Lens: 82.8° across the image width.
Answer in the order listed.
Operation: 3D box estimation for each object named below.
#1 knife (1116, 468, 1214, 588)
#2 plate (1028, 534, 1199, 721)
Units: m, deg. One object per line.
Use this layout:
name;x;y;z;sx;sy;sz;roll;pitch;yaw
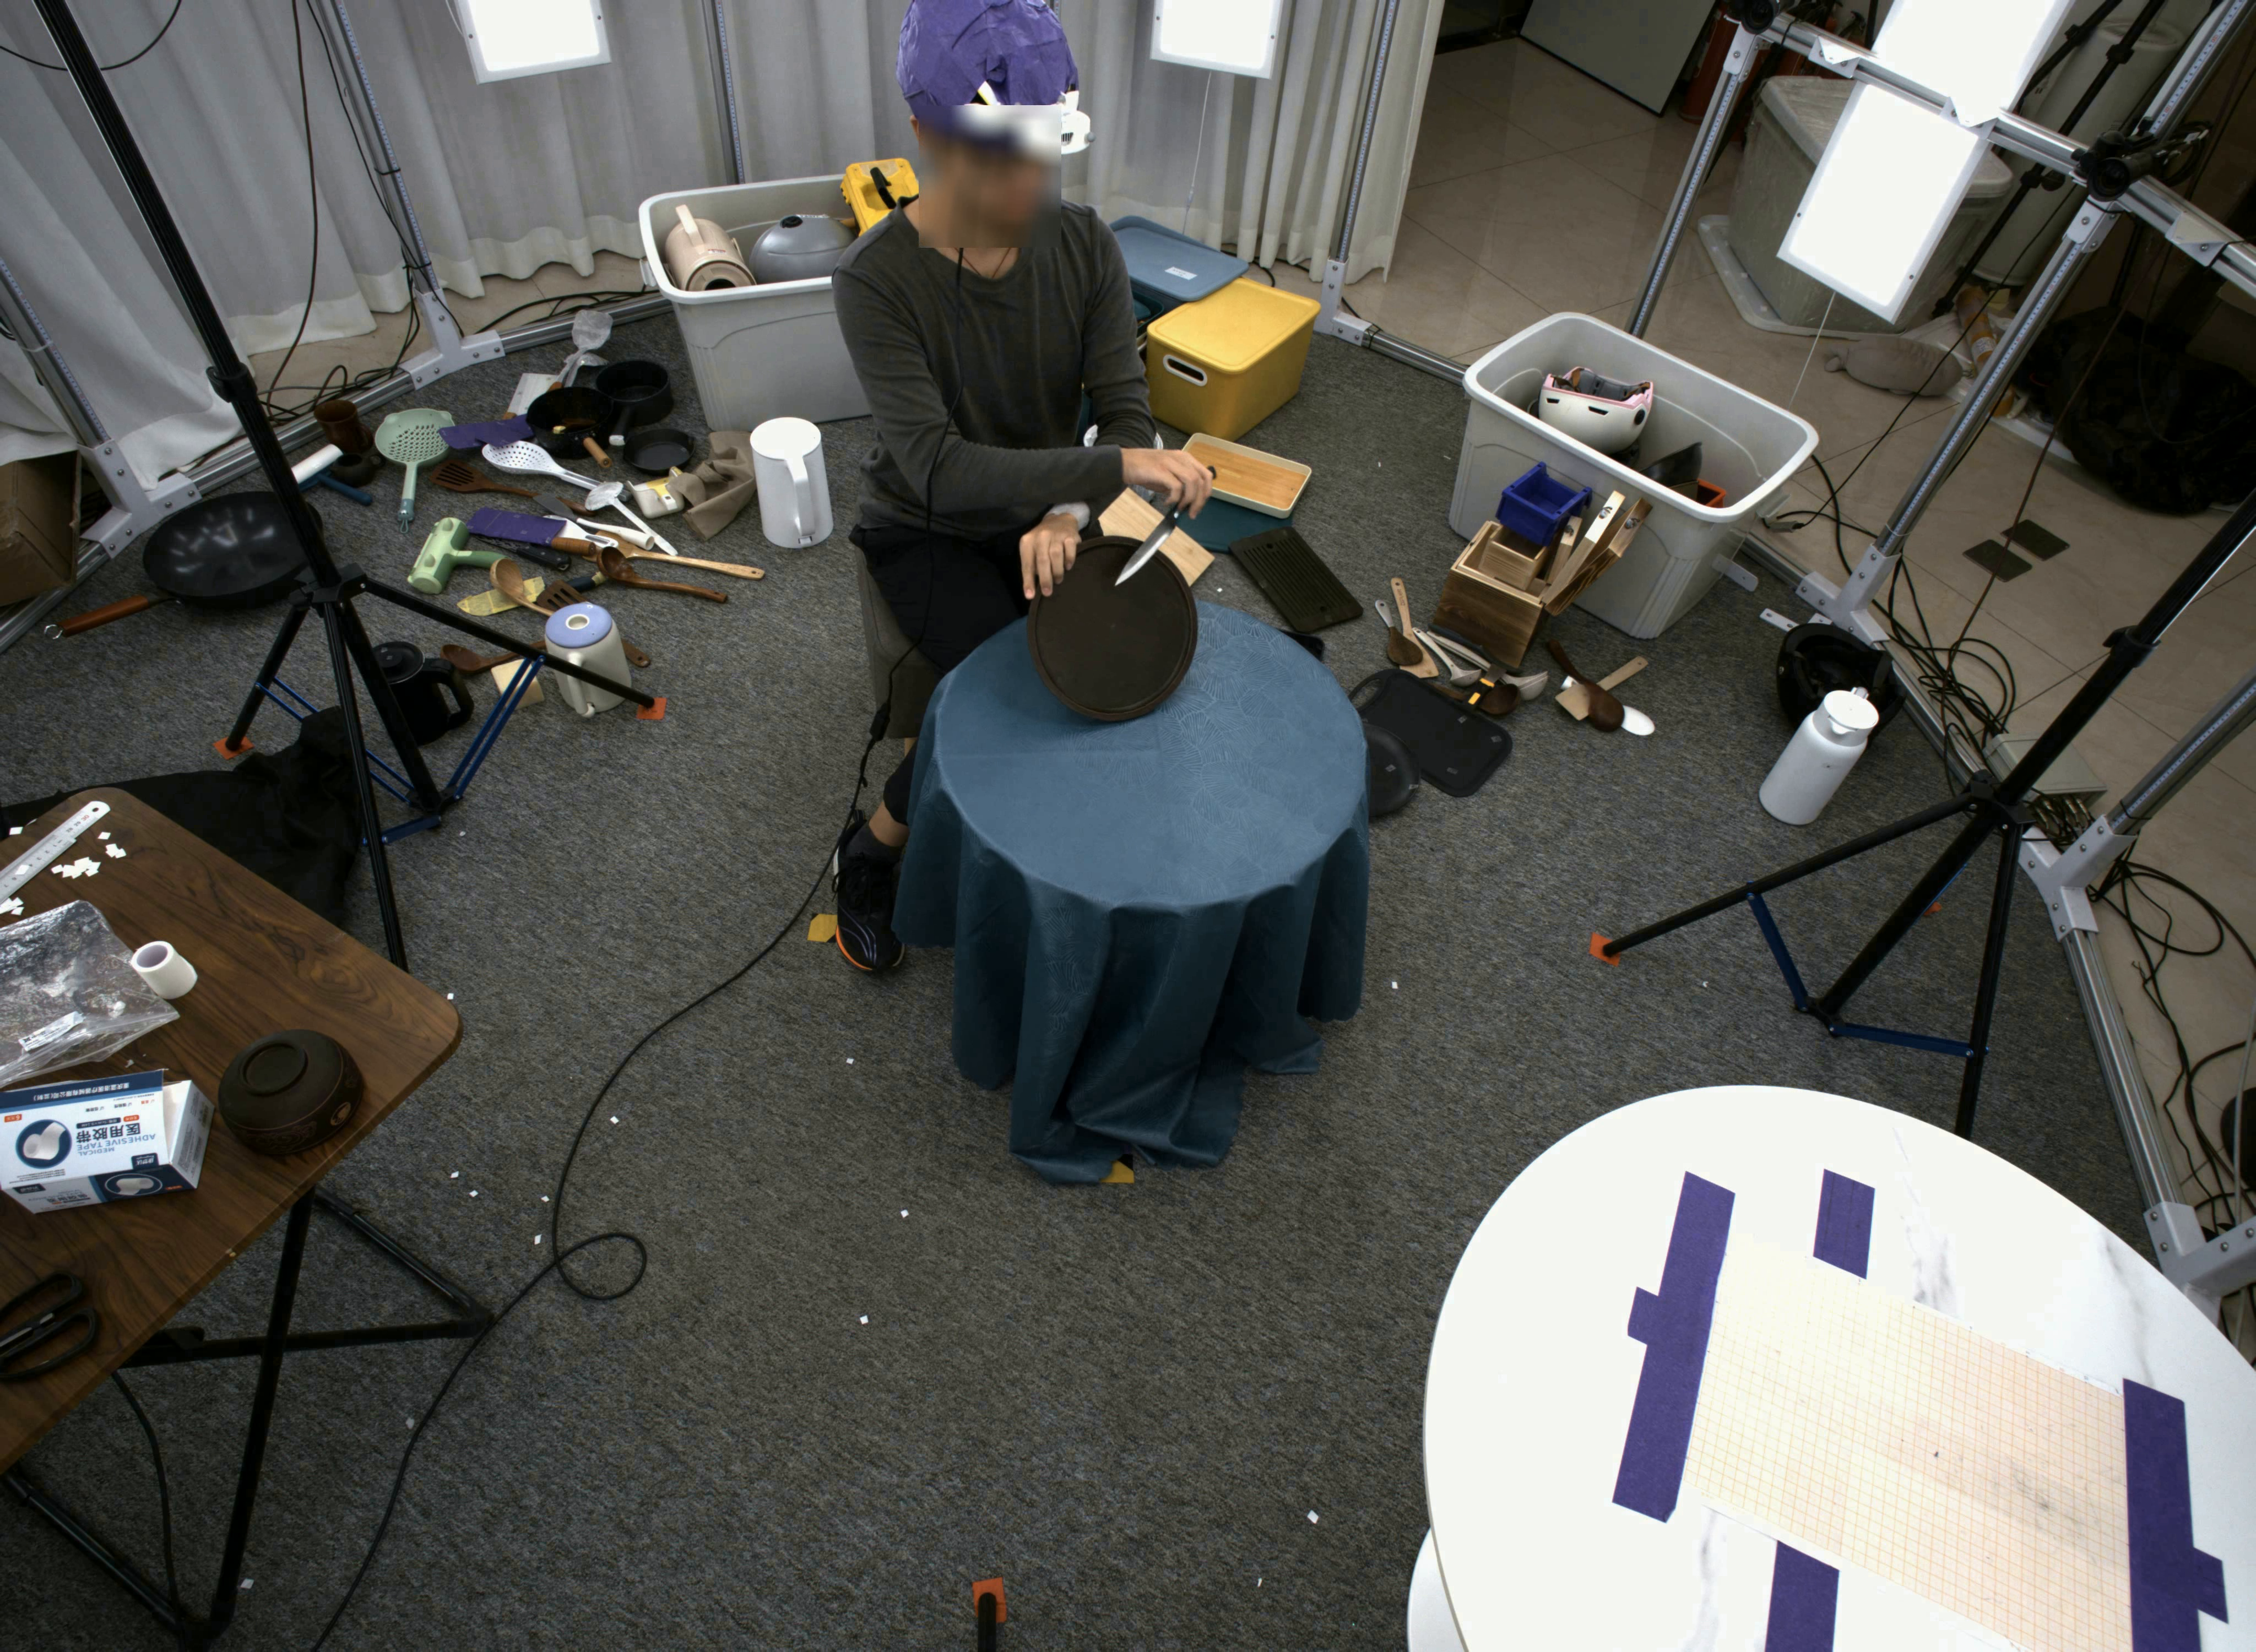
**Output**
knife;0.049;-0.412;1.770;0.016;0.024;0.241;7;54;50
plate;-0.020;-0.273;1.777;0.255;0.252;0.029;-19;14;-20
